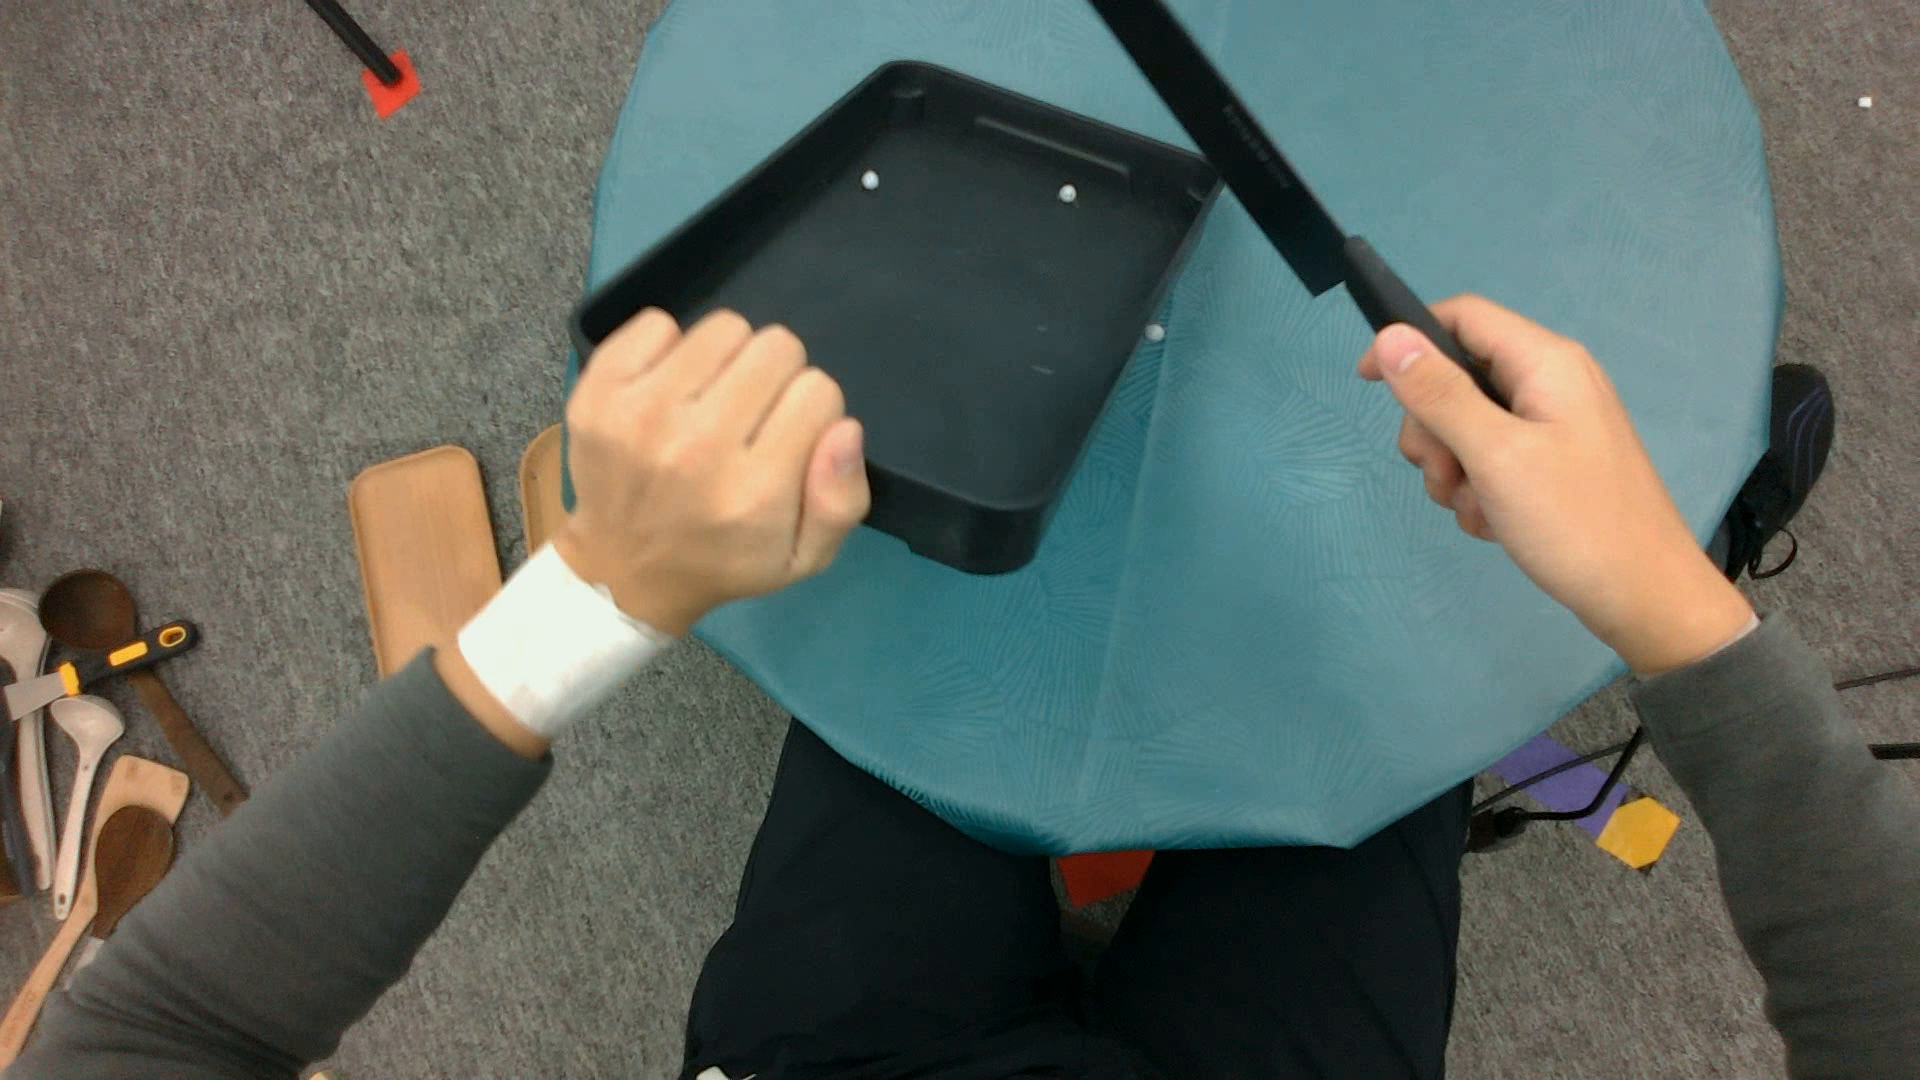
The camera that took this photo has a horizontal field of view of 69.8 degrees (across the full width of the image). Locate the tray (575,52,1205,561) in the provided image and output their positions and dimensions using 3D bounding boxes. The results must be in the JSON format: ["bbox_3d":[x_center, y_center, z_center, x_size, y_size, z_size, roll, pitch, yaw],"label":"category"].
[{"bbox_3d":[-0.010,-0.121,0.593,0.184,0.037,0.319,20,41,7],"label":"tray"}]

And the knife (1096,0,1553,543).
[{"bbox_3d":[0.118,-0.123,0.505,0.021,0.081,0.302,-37,87,-1],"label":"knife"}]
